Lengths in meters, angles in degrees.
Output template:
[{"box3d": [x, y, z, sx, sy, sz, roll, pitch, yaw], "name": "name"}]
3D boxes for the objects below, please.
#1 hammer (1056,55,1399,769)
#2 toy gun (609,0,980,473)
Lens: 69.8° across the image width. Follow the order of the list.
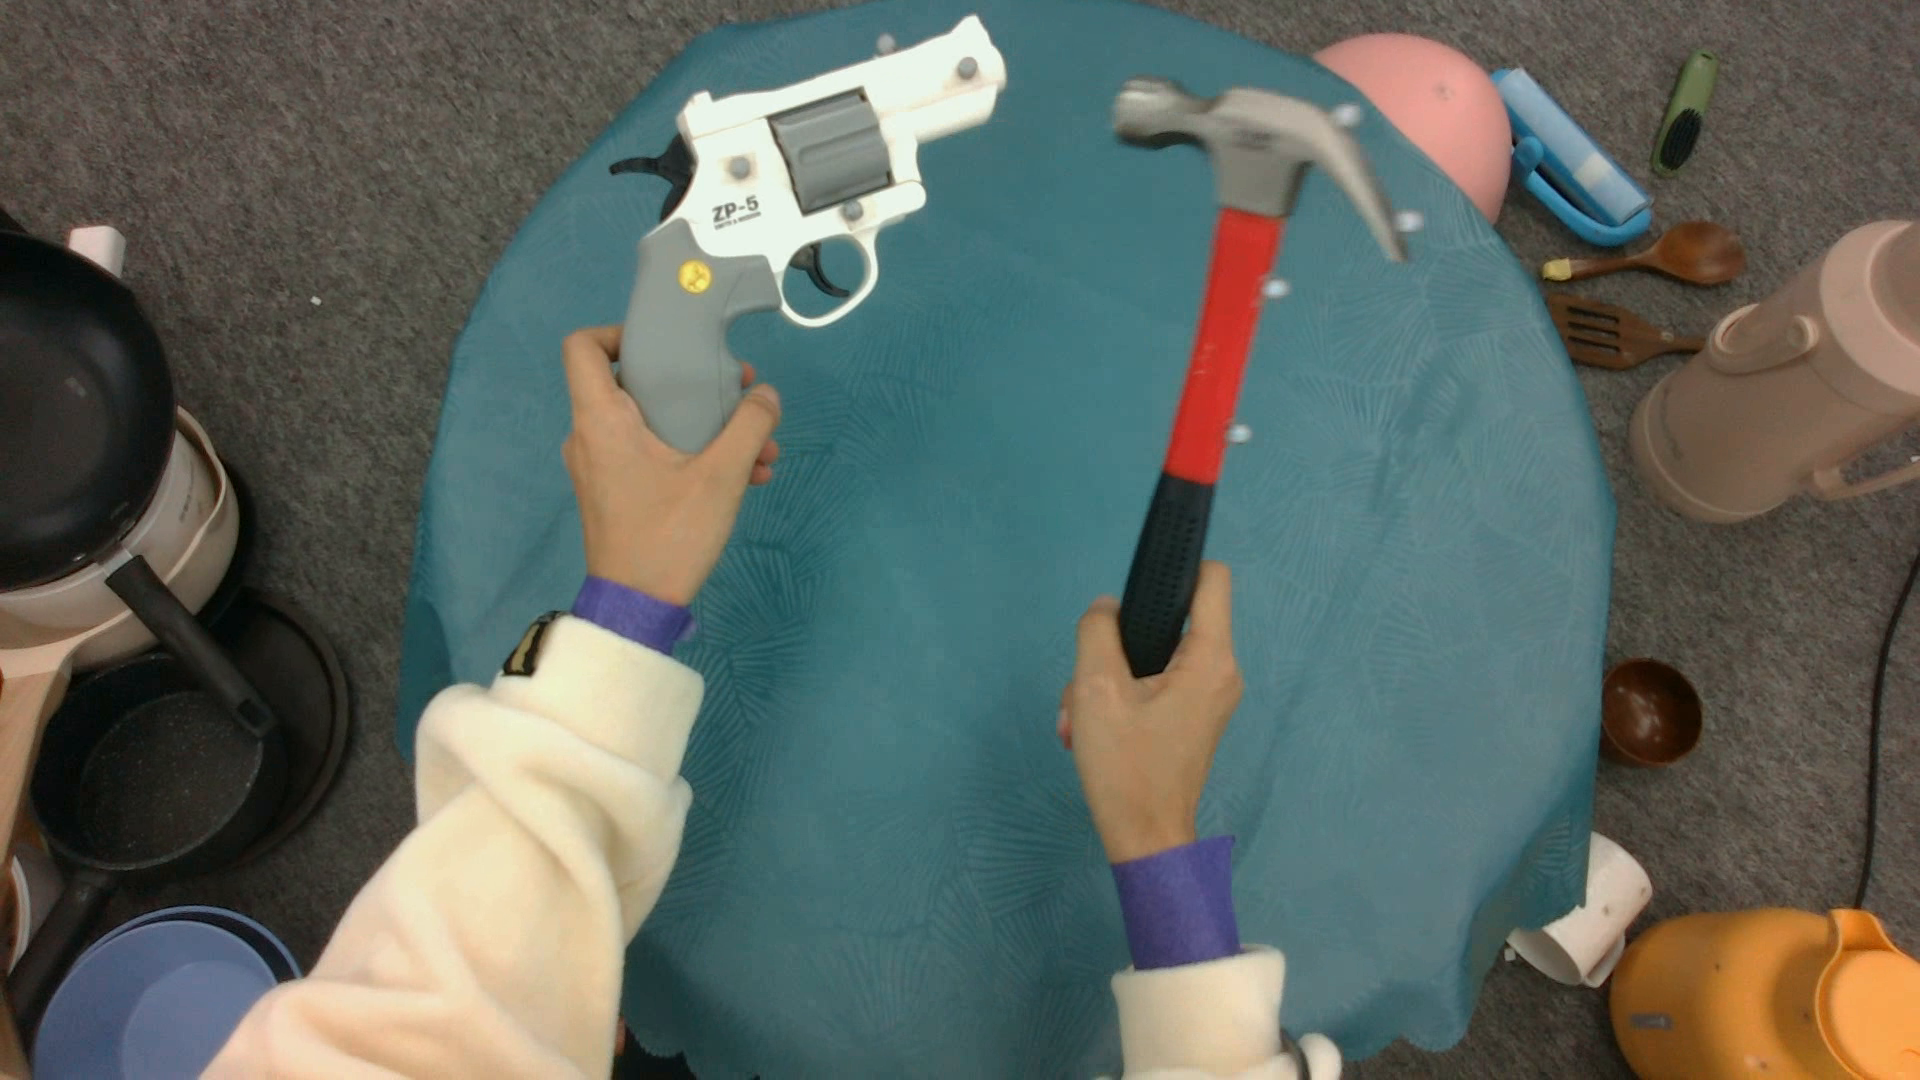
[{"box3d": [0.085, -0.035, 0.532, 0.110, 0.026, 0.276, 17, 110, 12], "name": "hammer"}, {"box3d": [-0.066, -0.125, 0.565, 0.209, 0.039, 0.141, -27, 101, -17], "name": "toy gun"}]
